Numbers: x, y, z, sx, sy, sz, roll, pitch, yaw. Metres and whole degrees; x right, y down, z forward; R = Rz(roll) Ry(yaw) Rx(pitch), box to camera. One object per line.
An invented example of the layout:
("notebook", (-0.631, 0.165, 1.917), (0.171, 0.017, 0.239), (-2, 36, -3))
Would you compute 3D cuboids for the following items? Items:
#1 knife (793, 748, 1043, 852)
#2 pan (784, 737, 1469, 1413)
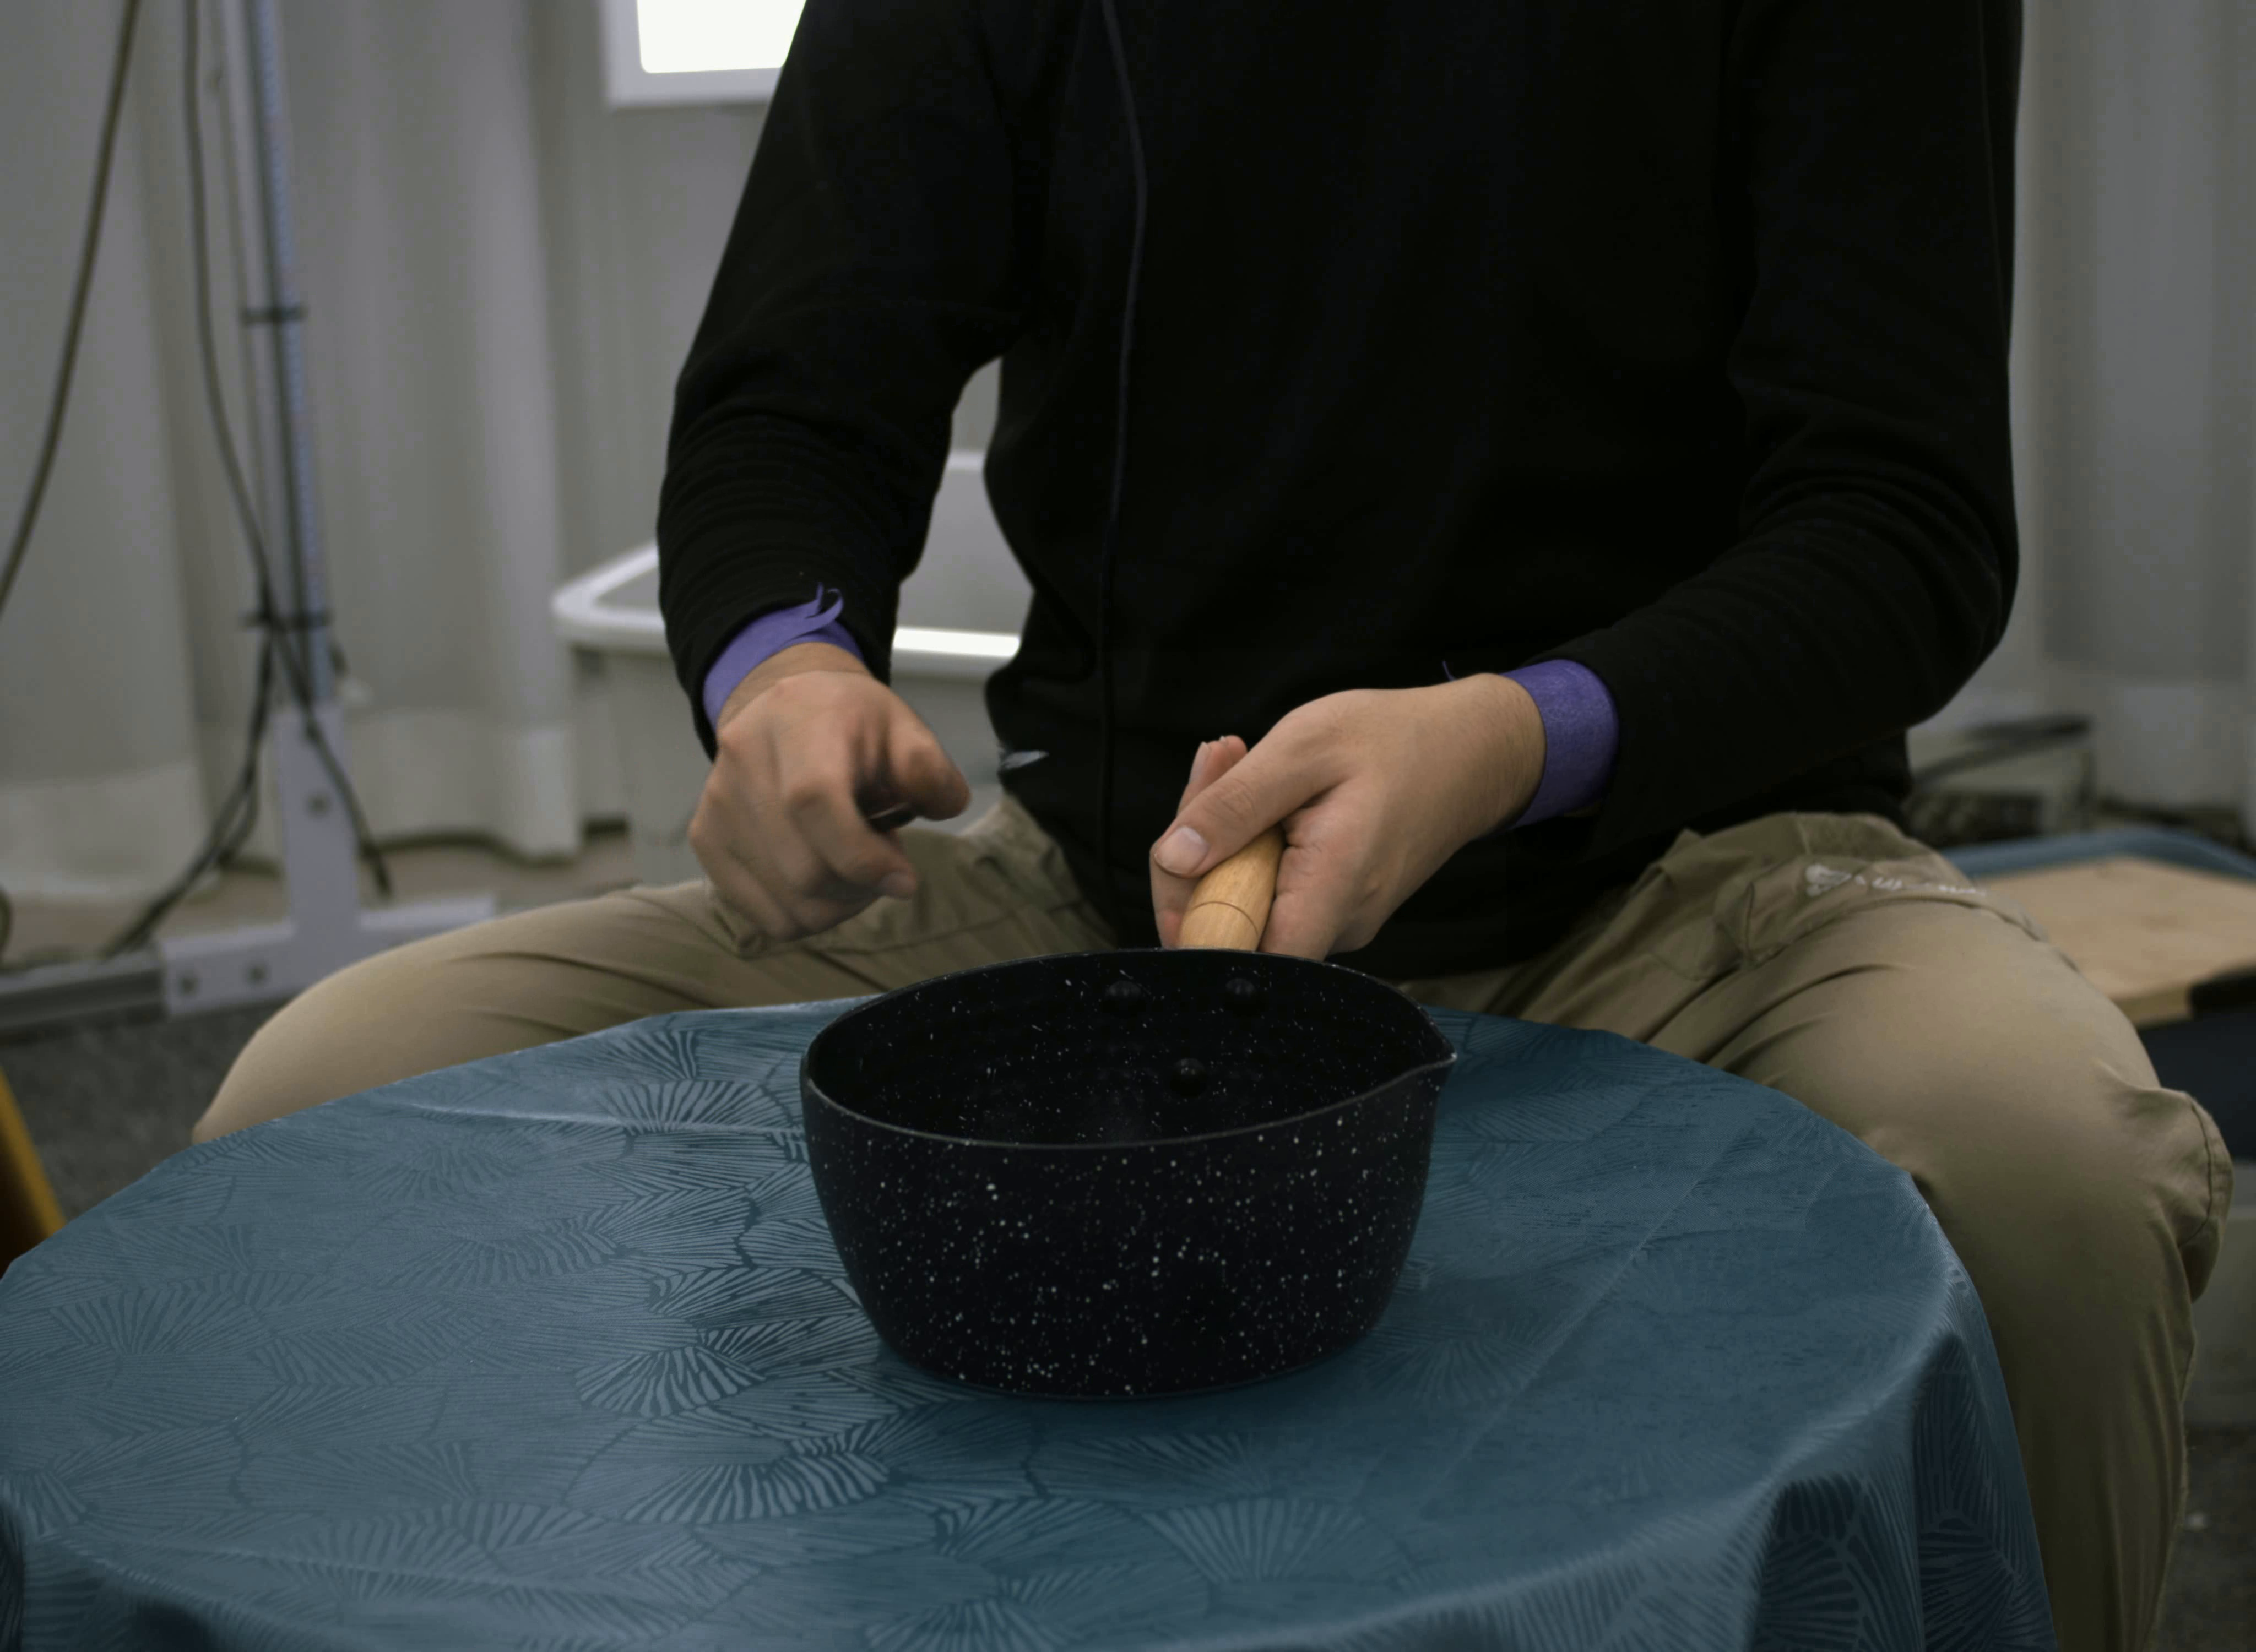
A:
("knife", (-0.067, -0.009, 1.705), (0.024, 0.016, 0.238), (-34, 6, -19))
("pan", (0.015, 0.071, 1.666), (0.207, 0.108, 0.345), (0, 17, 13))
